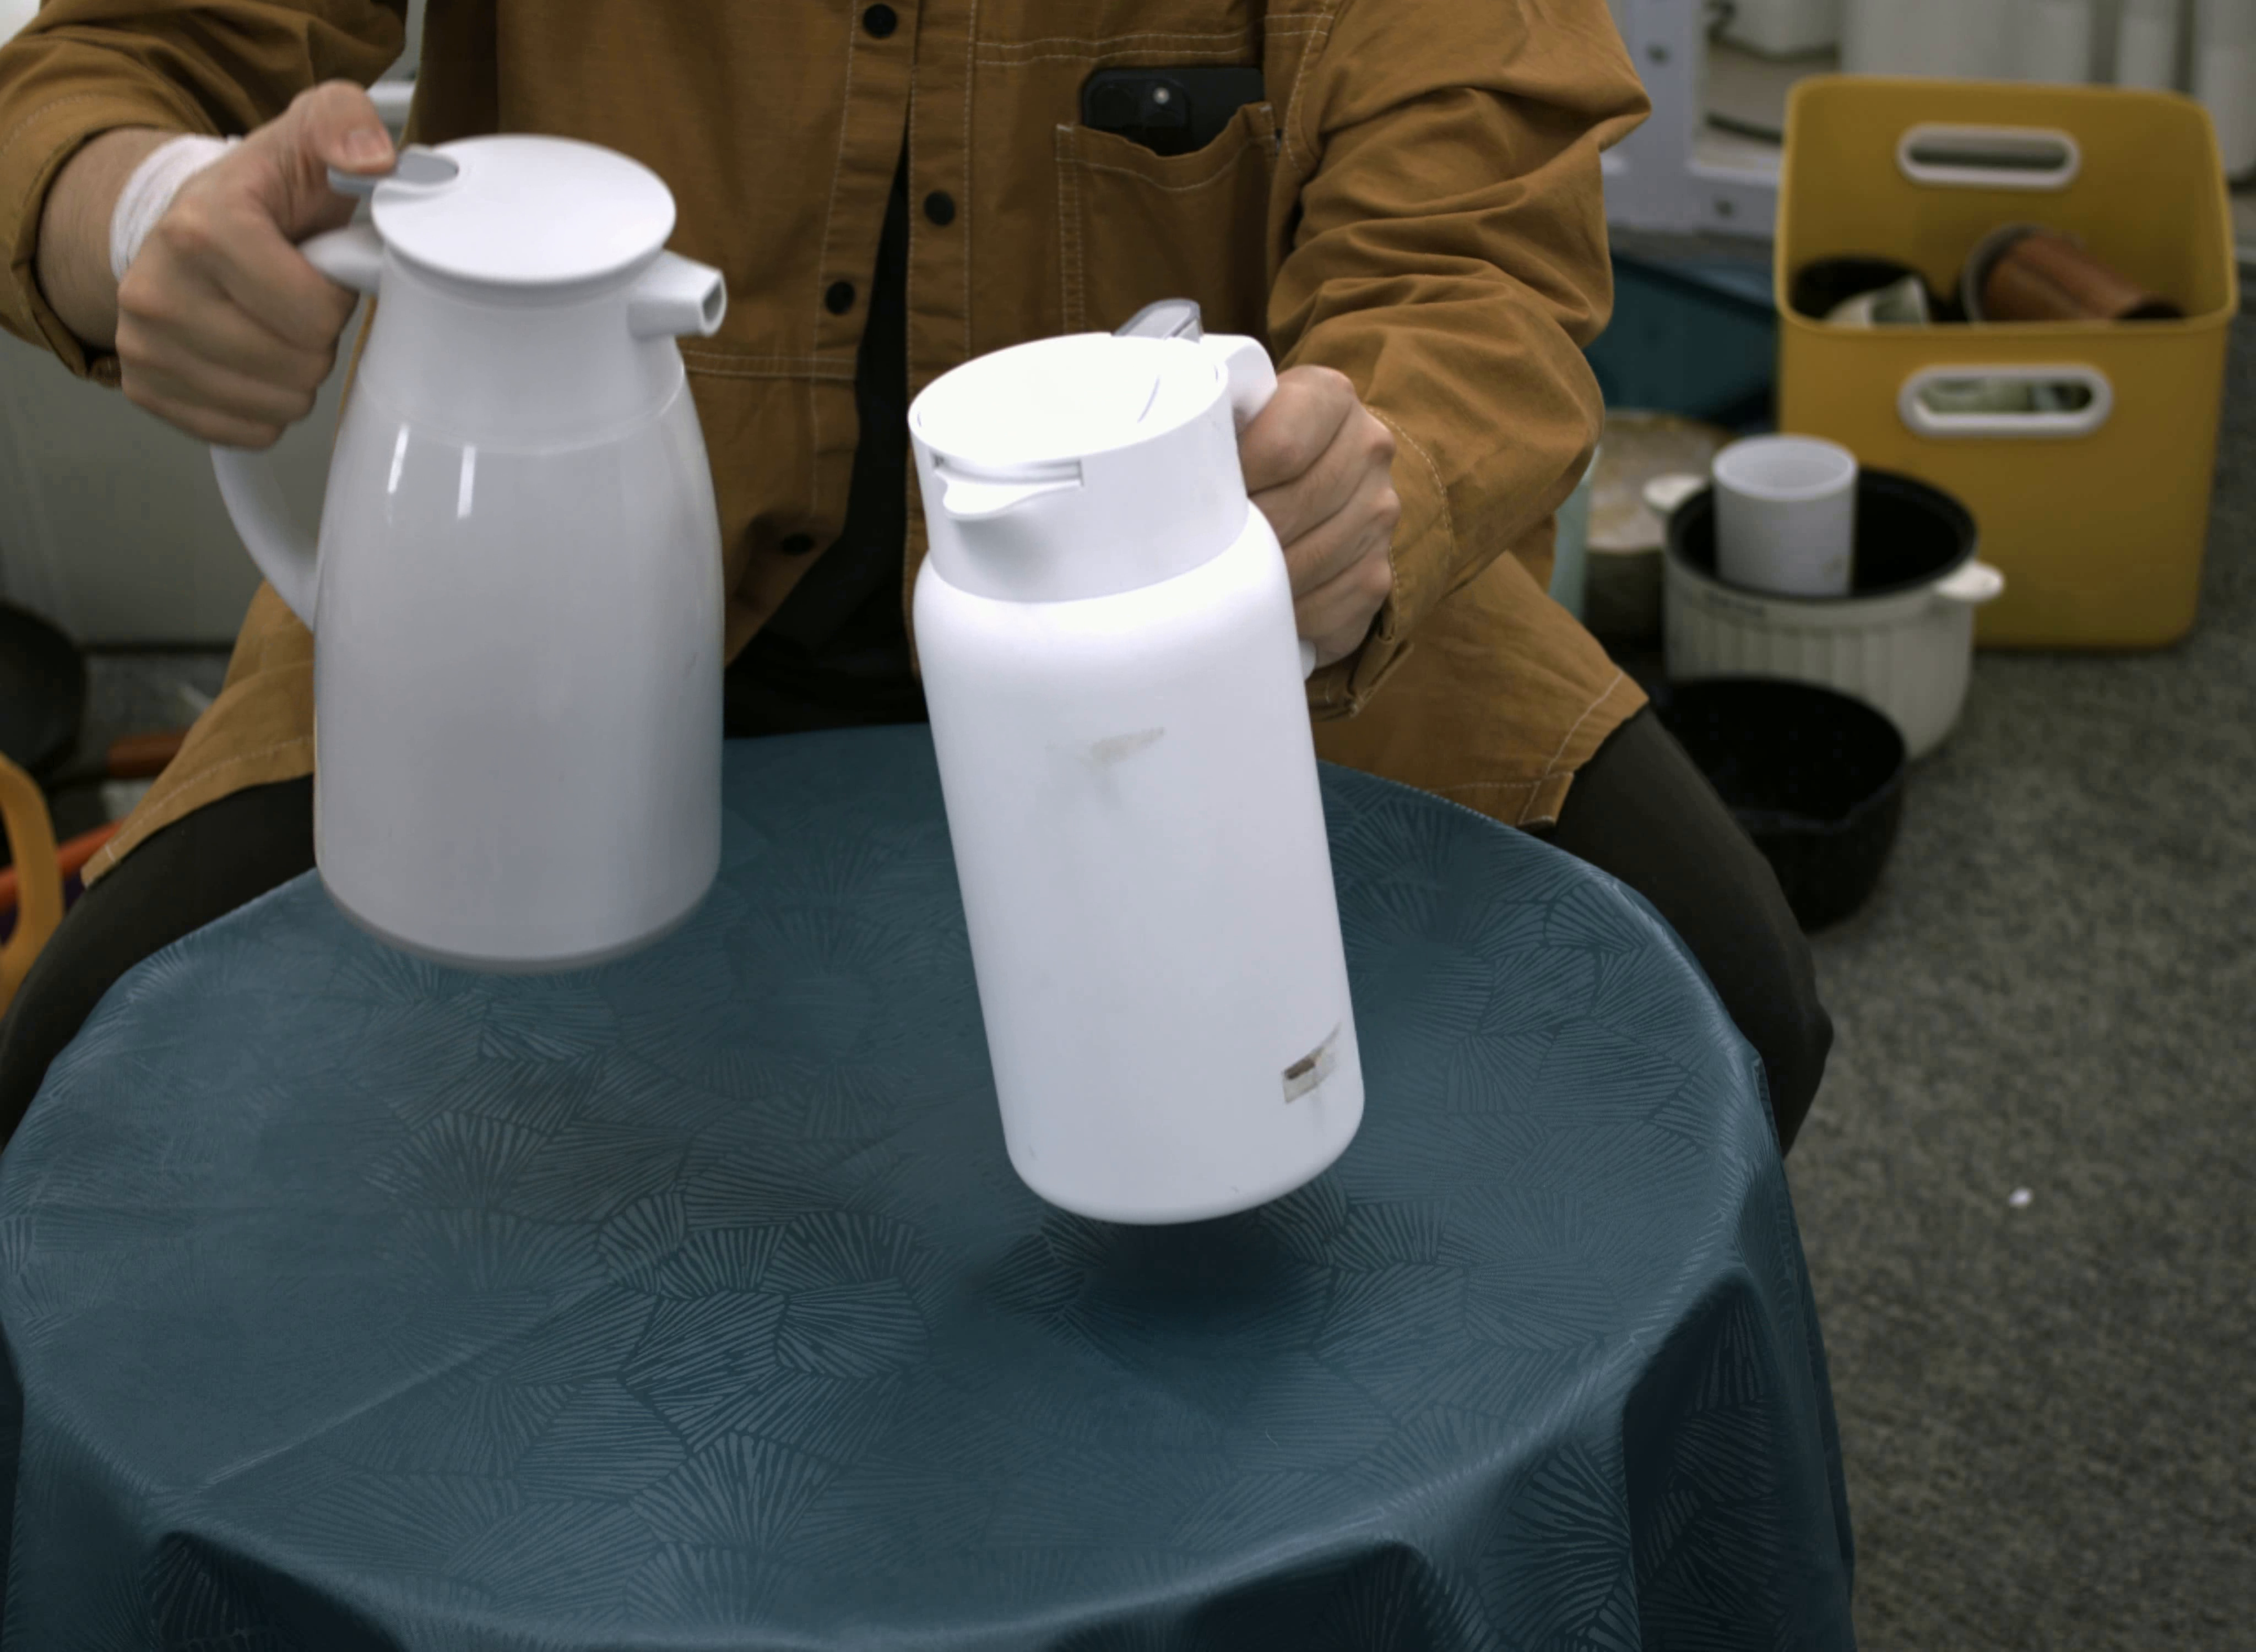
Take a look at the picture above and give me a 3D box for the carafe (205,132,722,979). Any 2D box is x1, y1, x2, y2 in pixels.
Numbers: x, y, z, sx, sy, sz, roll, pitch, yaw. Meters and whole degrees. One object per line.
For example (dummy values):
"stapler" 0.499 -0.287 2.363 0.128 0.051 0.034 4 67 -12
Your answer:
"carafe" -0.209 -0.094 1.765 0.167 0.245 0.135 11 32 12

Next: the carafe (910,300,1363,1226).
"carafe" 0.007 -0.023 1.771 0.123 0.266 0.176 3 27 29
